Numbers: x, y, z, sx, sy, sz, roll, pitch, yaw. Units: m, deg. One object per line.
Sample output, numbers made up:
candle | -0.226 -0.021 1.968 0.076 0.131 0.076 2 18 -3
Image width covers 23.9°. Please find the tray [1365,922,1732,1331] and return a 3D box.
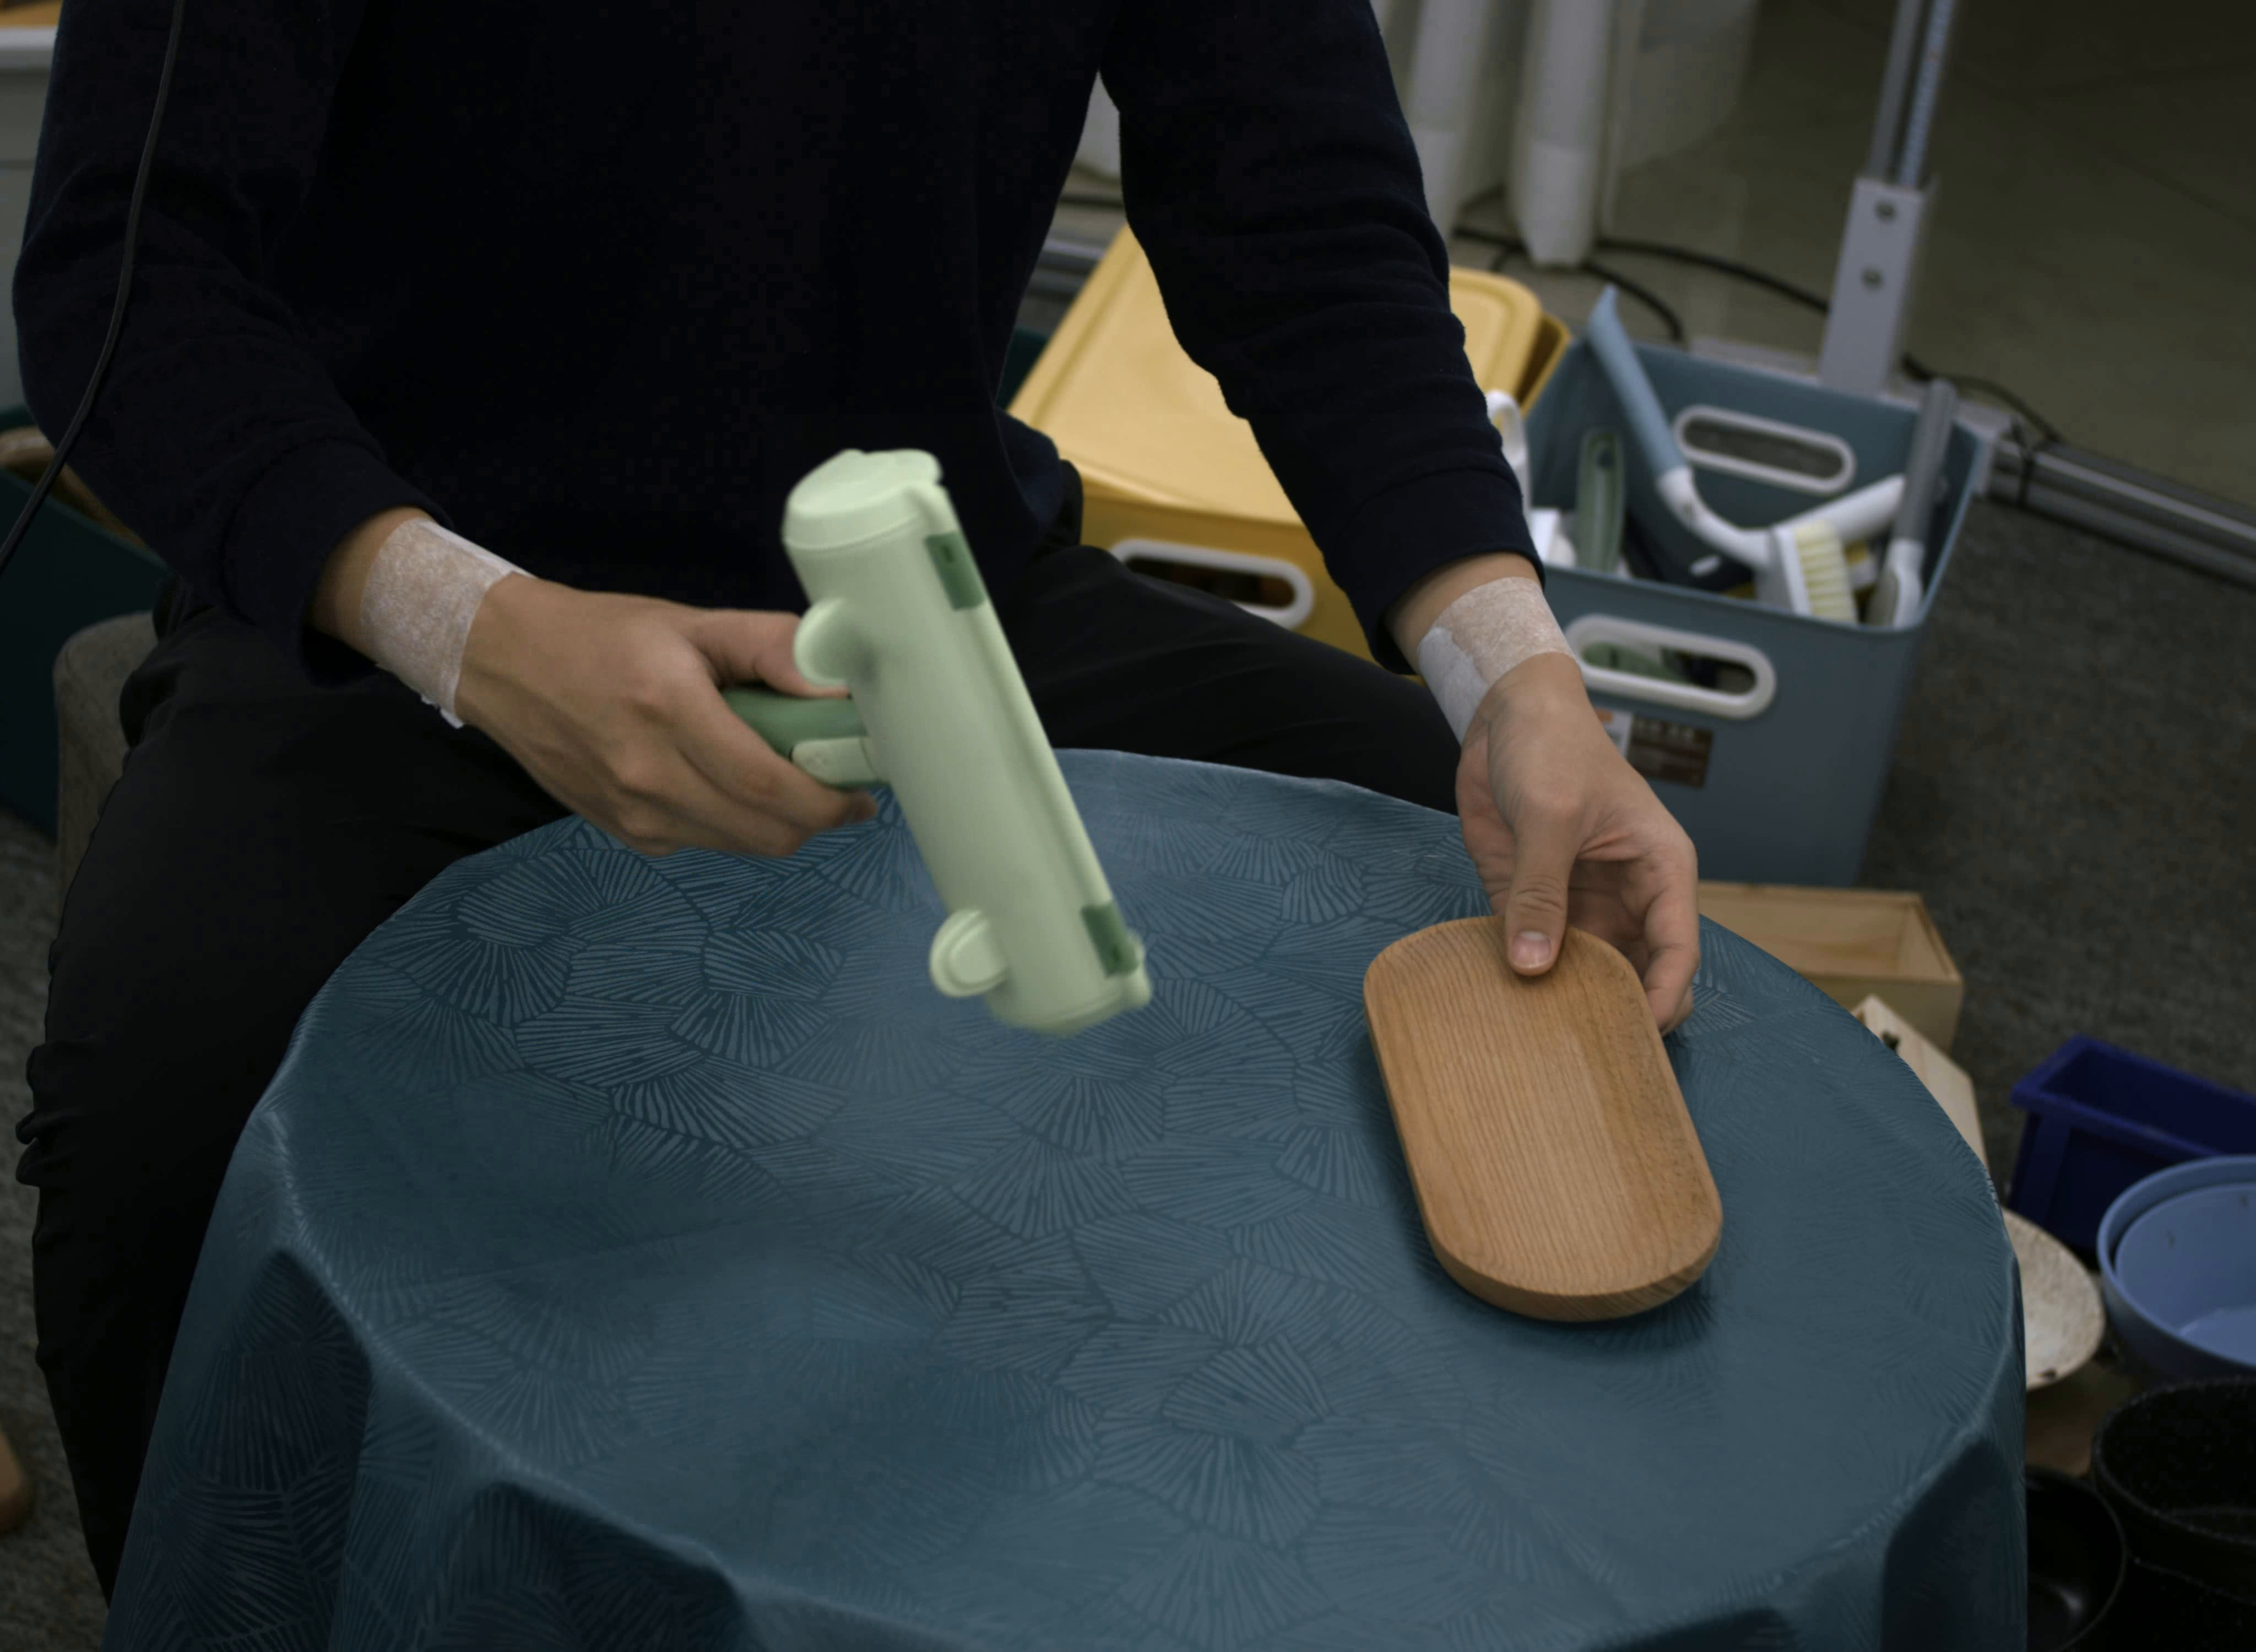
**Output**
tray | 0.143 0.101 1.840 0.101 0.020 0.233 -7 33 -4

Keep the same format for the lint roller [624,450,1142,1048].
lint roller | -0.101 -0.016 1.698 0.184 0.198 0.082 -6 25 32
